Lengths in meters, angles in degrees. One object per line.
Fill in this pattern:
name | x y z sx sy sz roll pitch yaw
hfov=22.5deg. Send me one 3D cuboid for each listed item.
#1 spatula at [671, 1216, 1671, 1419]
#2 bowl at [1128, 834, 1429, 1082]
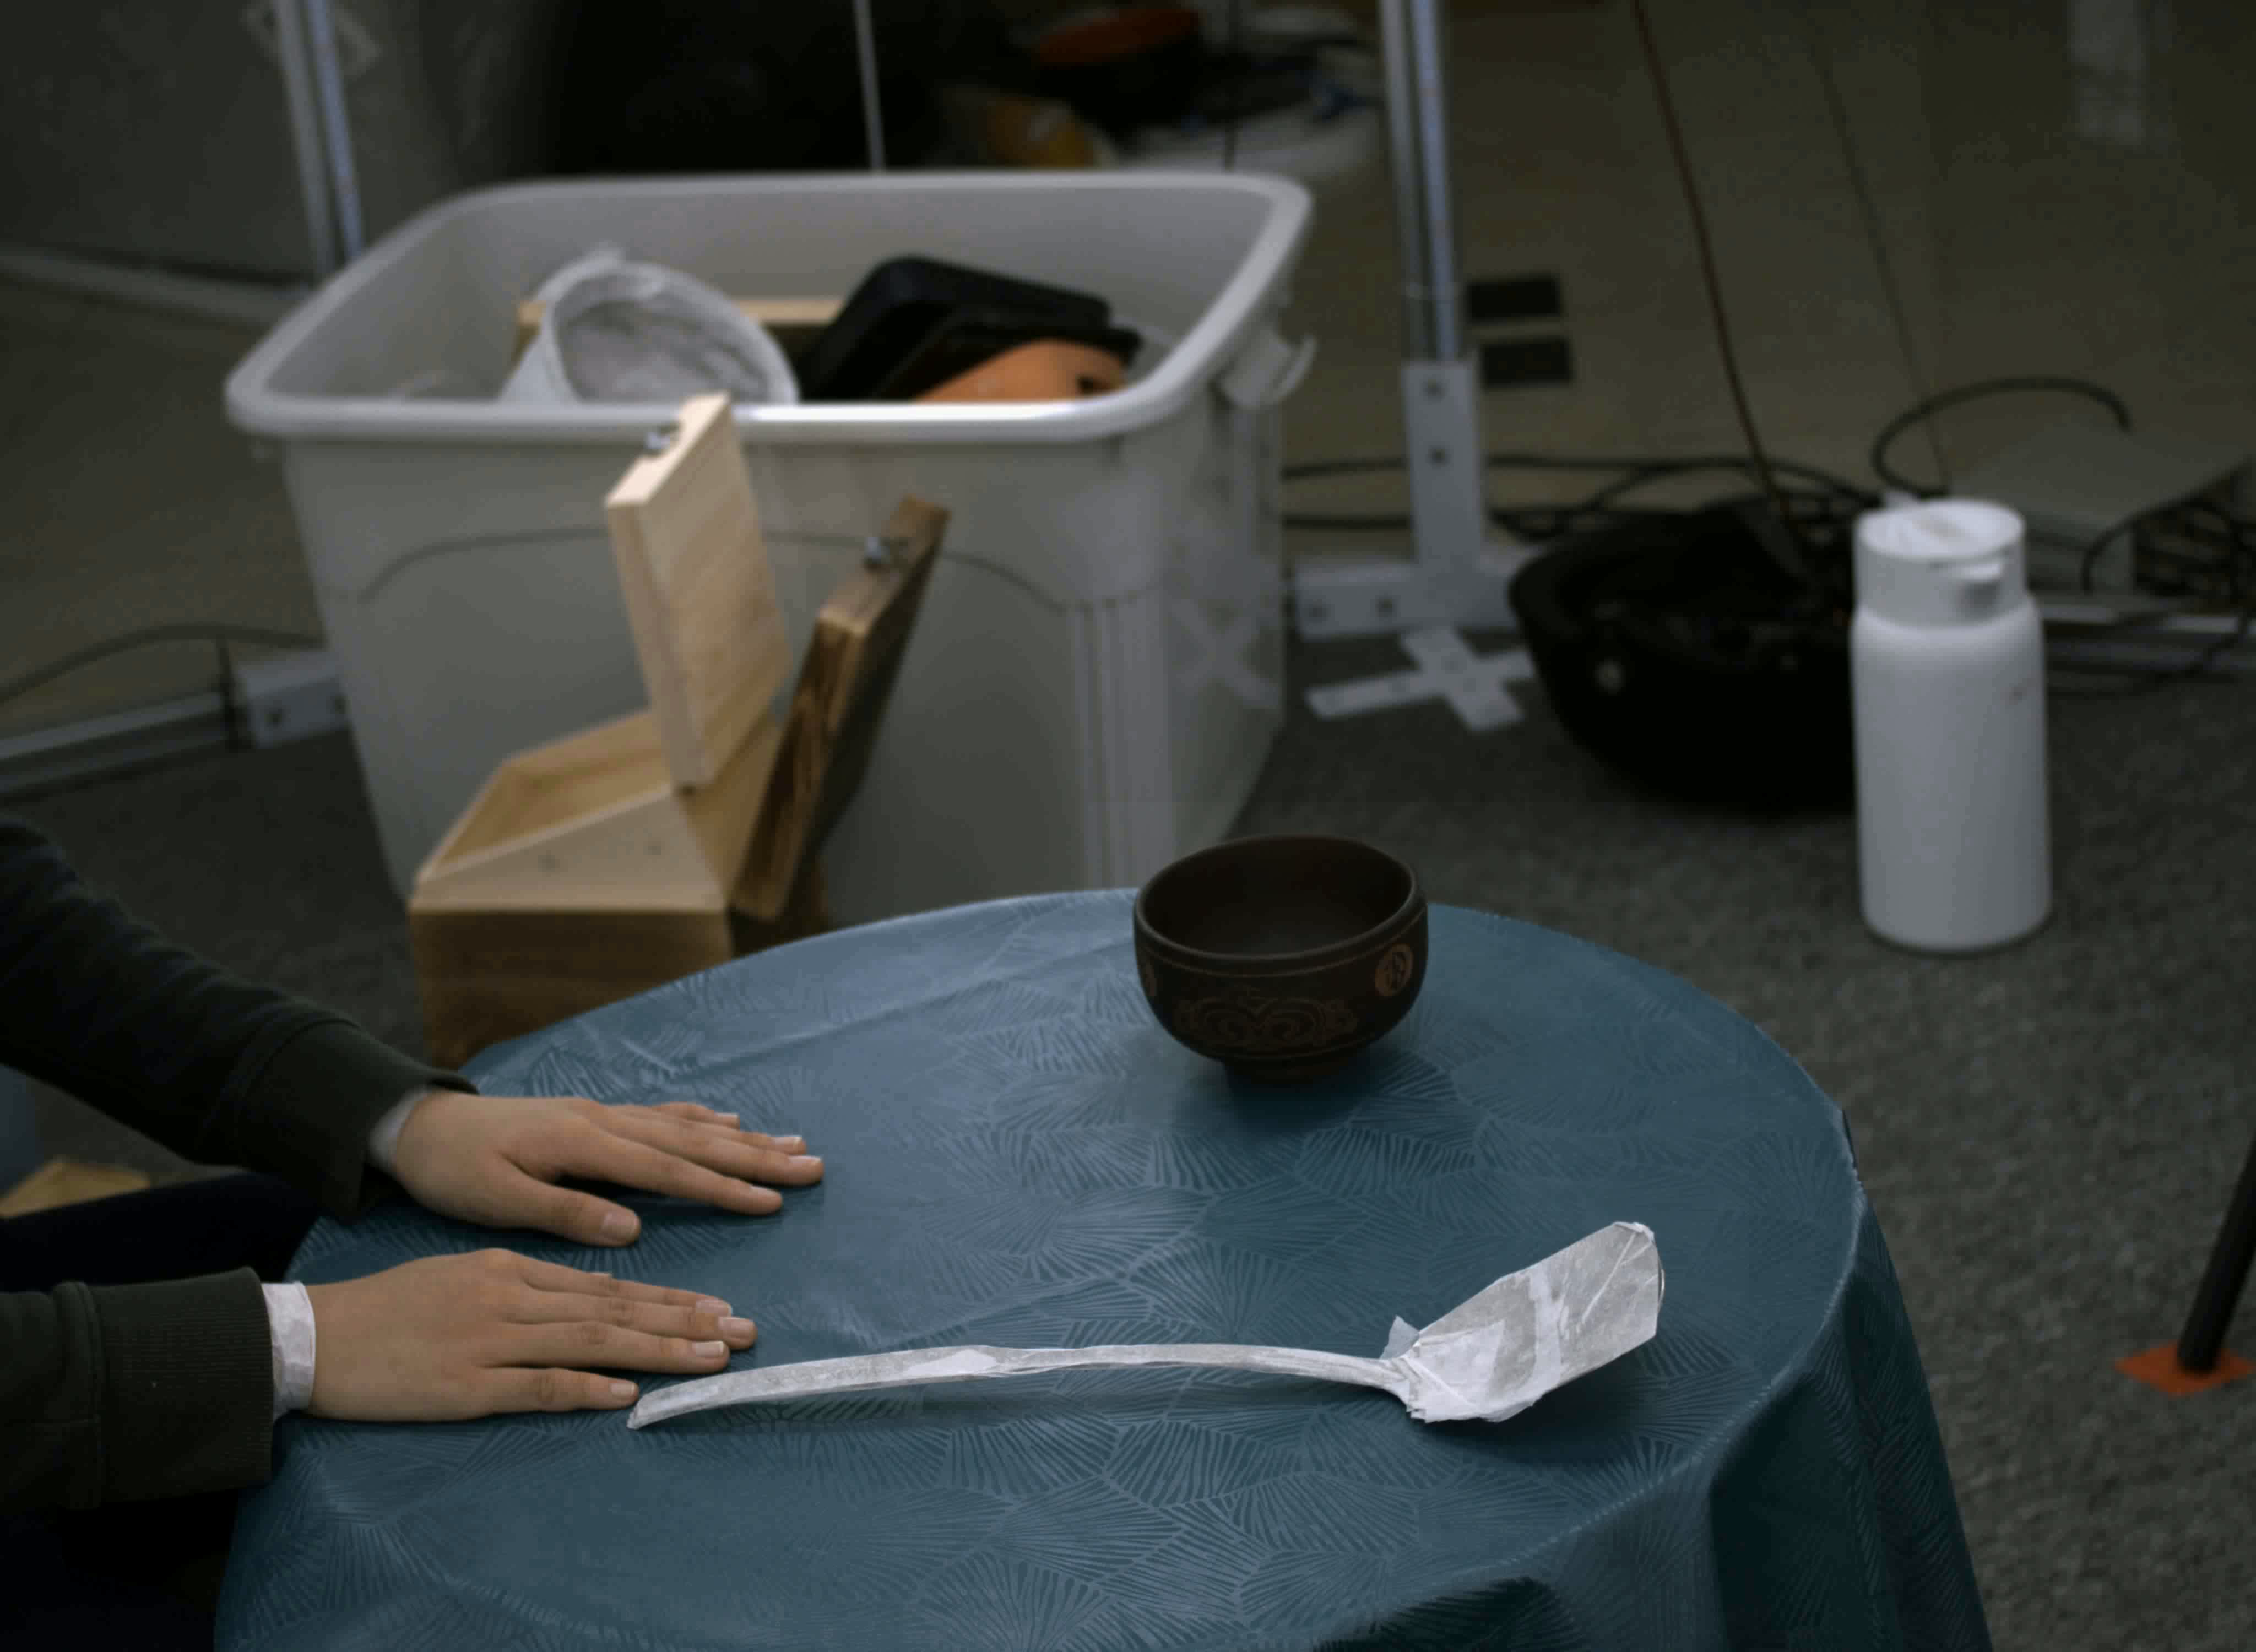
spatula | 0.011 0.183 2.009 0.364 0.045 0.097 -2 27 8
bowl | 0.061 0.058 2.228 0.118 0.071 0.116 -7 24 3
